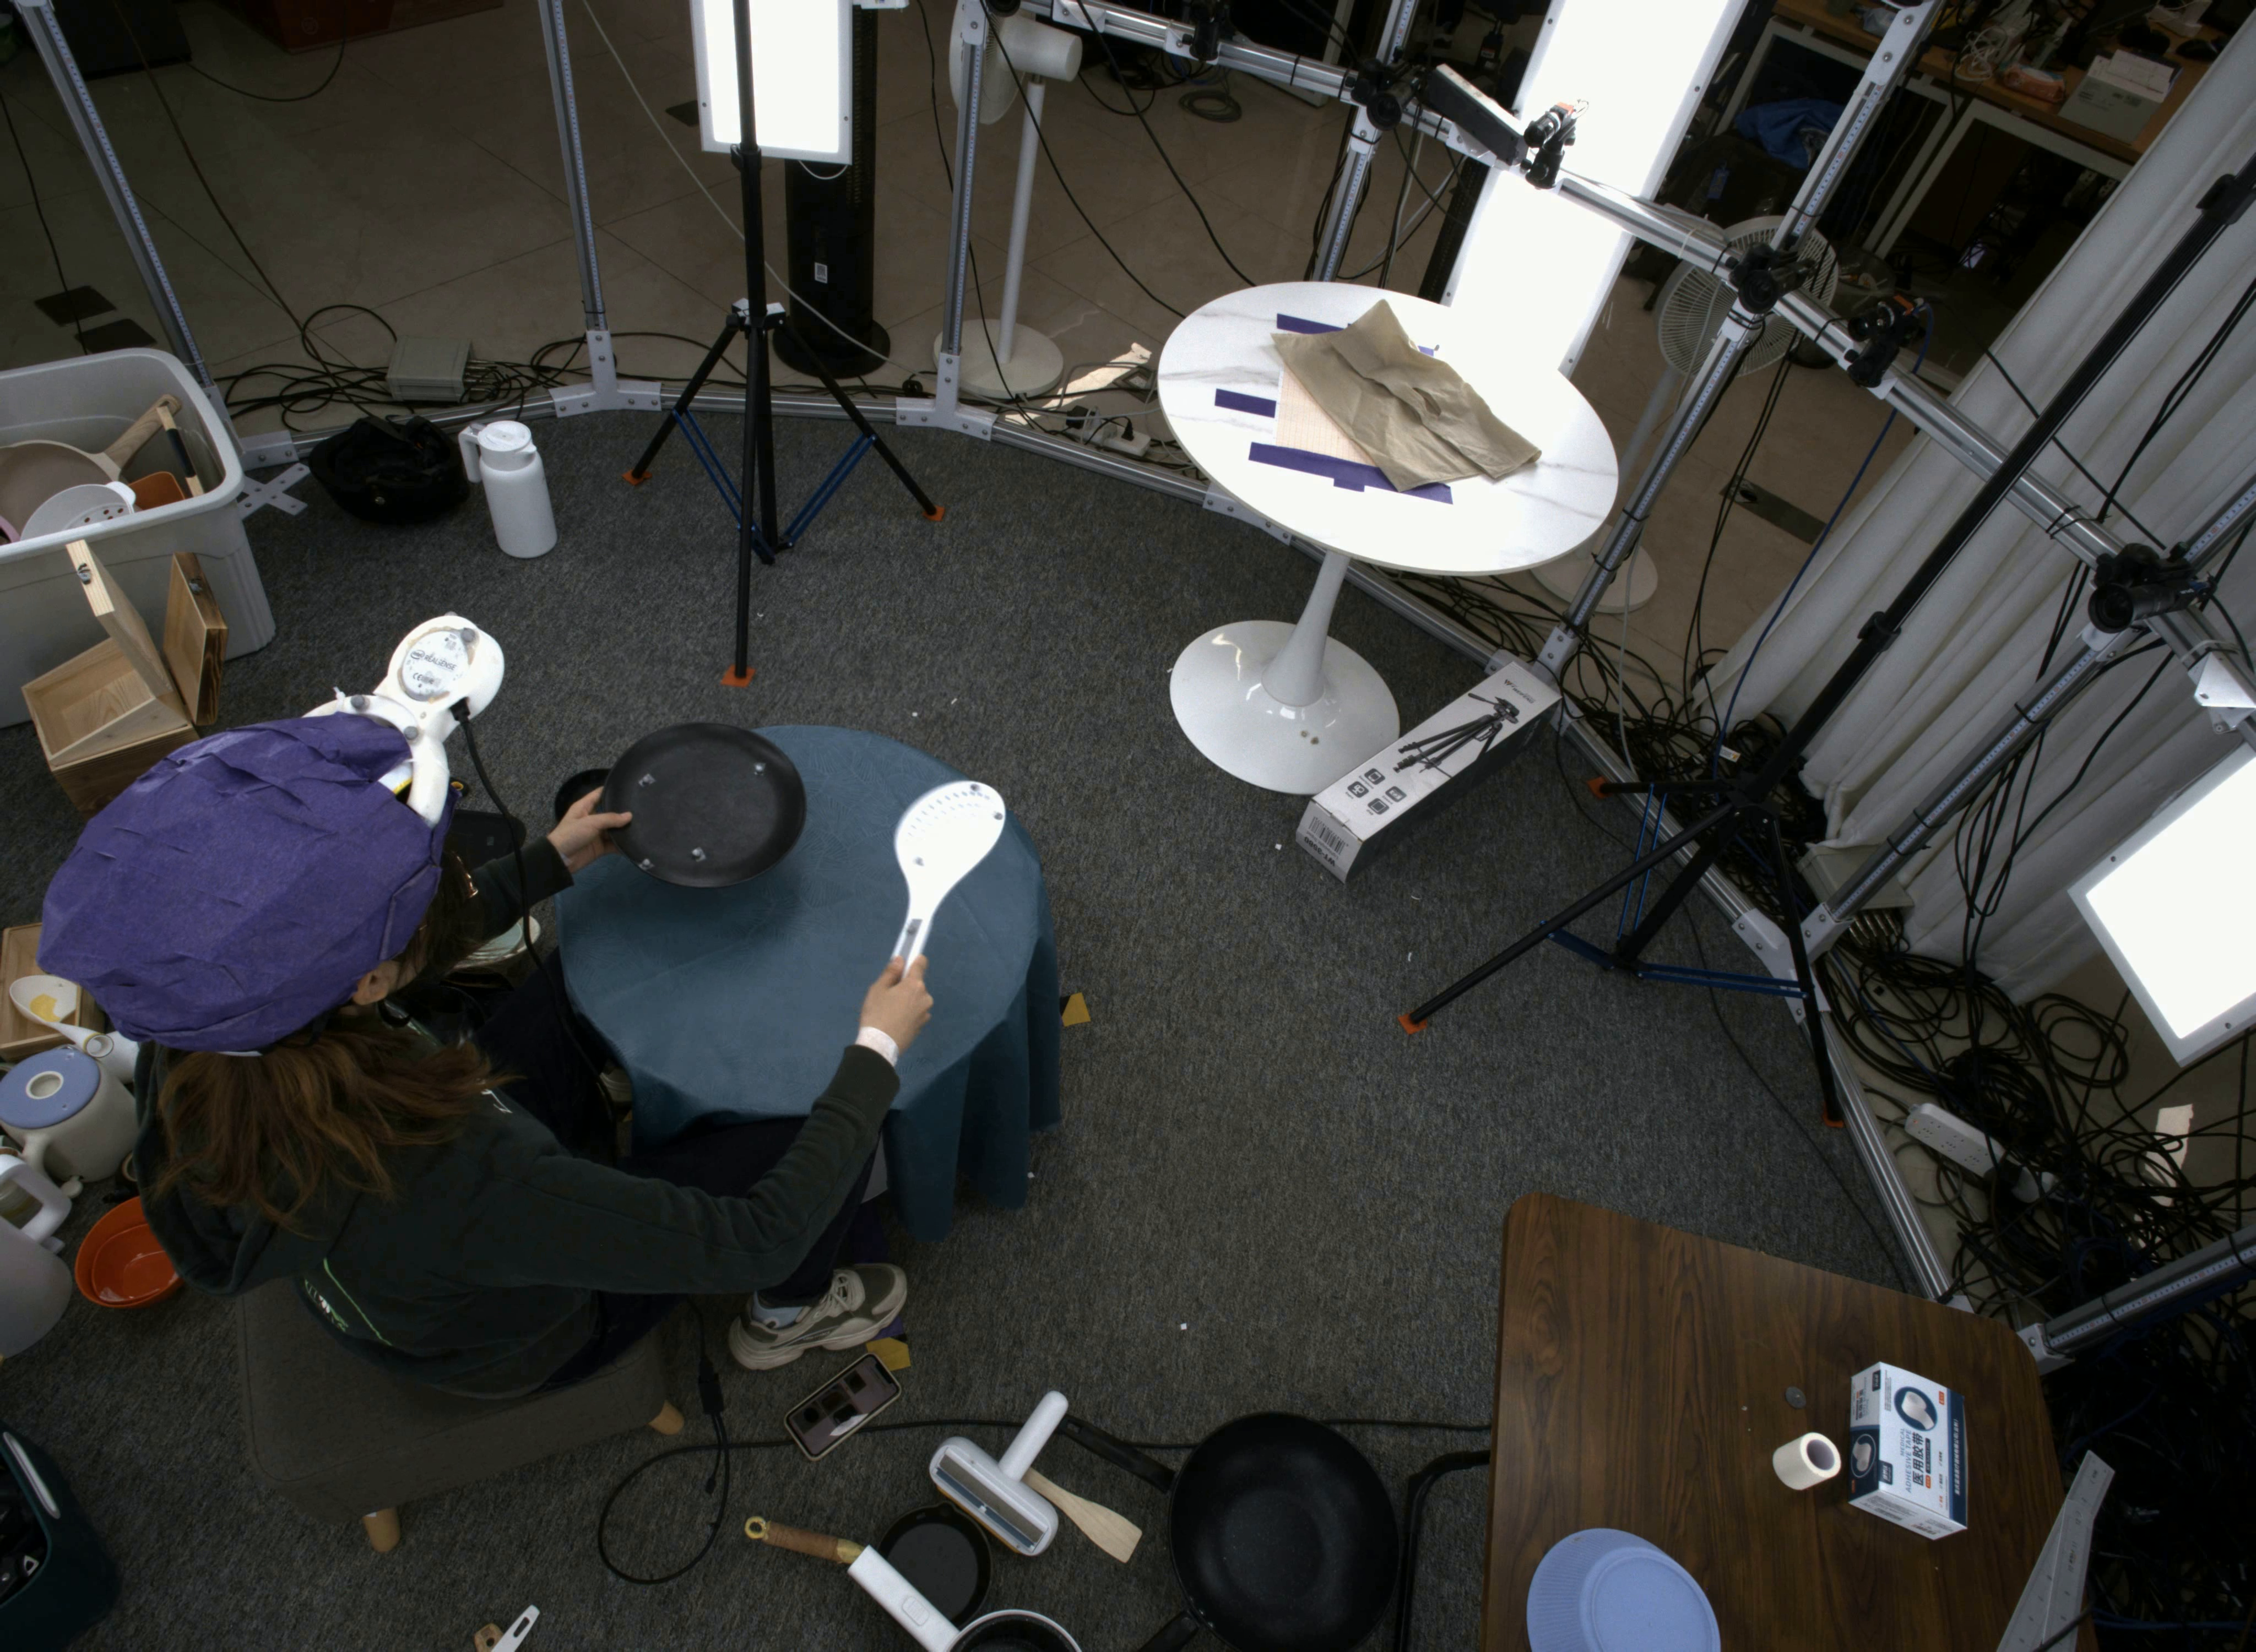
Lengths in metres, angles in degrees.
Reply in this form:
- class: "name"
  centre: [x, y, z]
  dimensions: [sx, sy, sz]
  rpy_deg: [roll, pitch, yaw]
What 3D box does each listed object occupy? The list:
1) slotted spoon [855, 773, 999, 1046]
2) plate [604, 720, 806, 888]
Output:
- class: "slotted spoon"
  centre: [-0.234, 0.084, 1.451]
  dimensions: [0.132, 0.047, 0.346]
  rpy_deg: [2, 50, 19]
- class: "plate"
  centre: [-0.521, -0.027, 1.584]
  dimensions: [0.245, 0.024, 0.240]
  rpy_deg: [10, 57, -14]
